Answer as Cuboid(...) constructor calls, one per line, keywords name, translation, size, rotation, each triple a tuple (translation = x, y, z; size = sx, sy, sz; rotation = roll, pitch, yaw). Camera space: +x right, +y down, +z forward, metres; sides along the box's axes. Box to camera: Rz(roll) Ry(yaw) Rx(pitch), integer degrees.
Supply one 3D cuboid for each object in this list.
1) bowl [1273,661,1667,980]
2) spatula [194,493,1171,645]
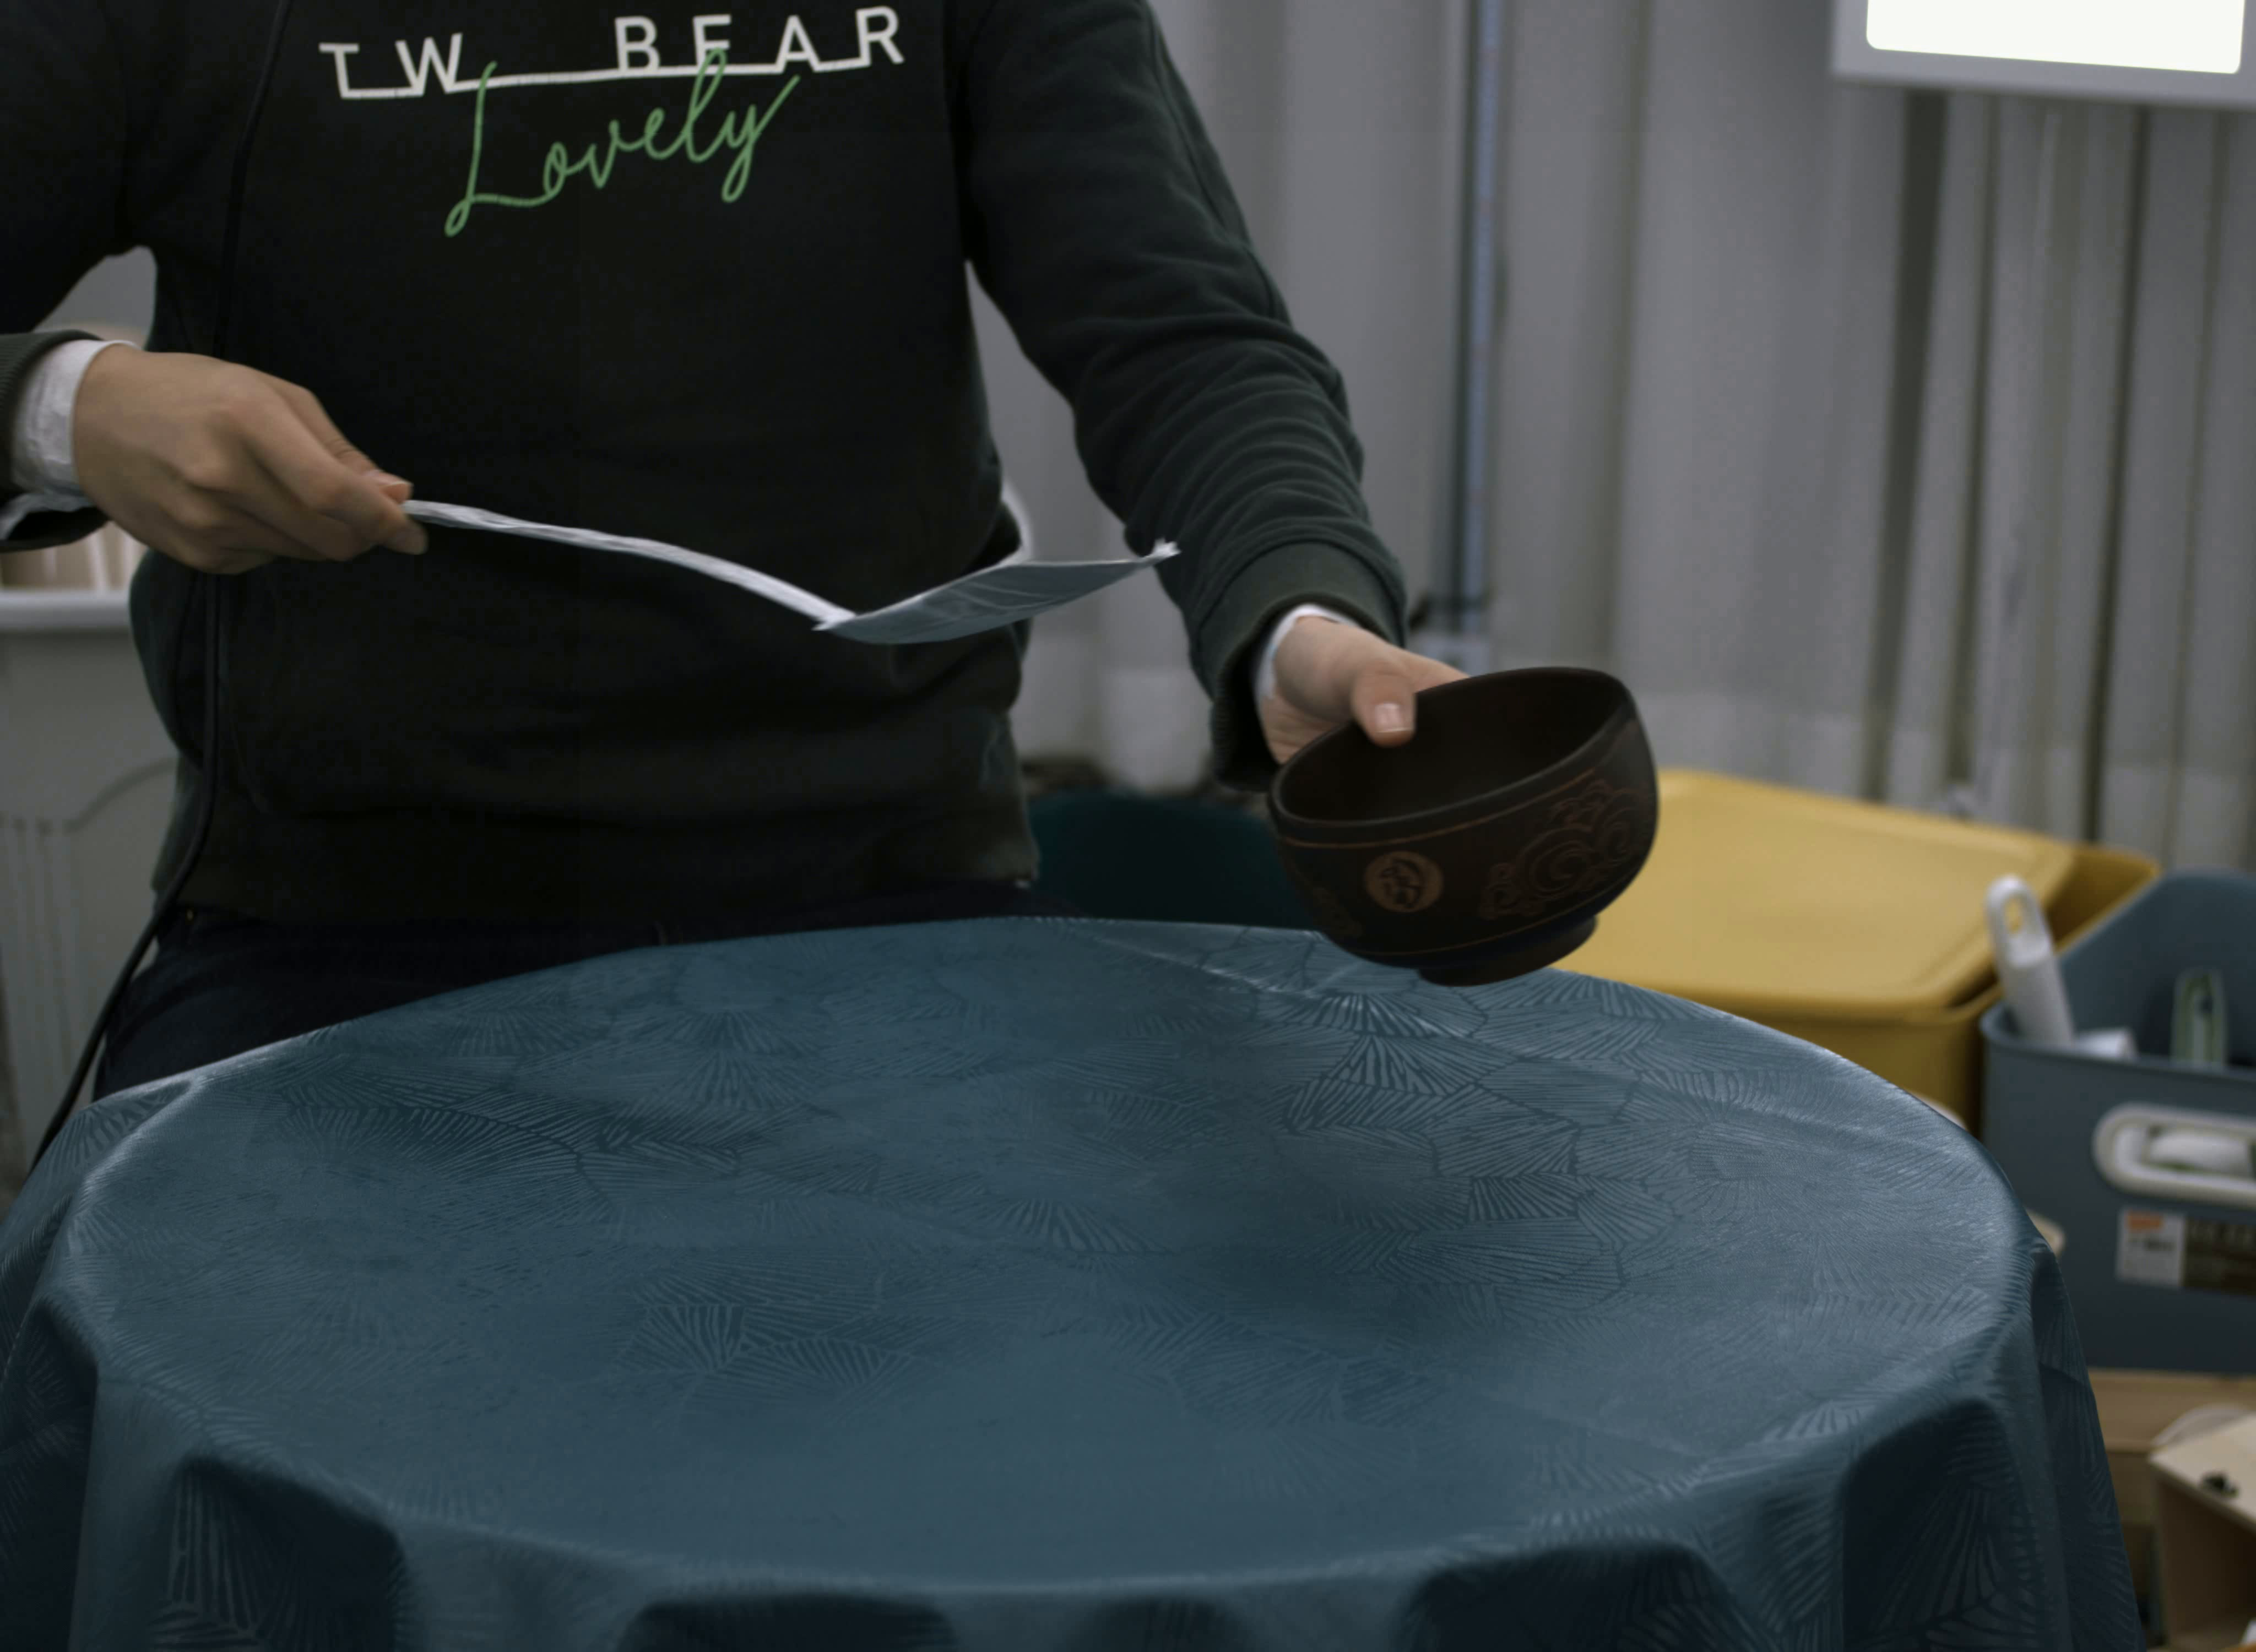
Cuboid(name="bowl", translation=(0.108, 0.004, 1.599), size=(0.117, 0.070, 0.117), rotation=(-15, 18, 6))
Cuboid(name="spatula", translation=(-0.157, -0.092, 1.645), size=(0.360, 0.045, 0.099), rotation=(12, 12, 28))
